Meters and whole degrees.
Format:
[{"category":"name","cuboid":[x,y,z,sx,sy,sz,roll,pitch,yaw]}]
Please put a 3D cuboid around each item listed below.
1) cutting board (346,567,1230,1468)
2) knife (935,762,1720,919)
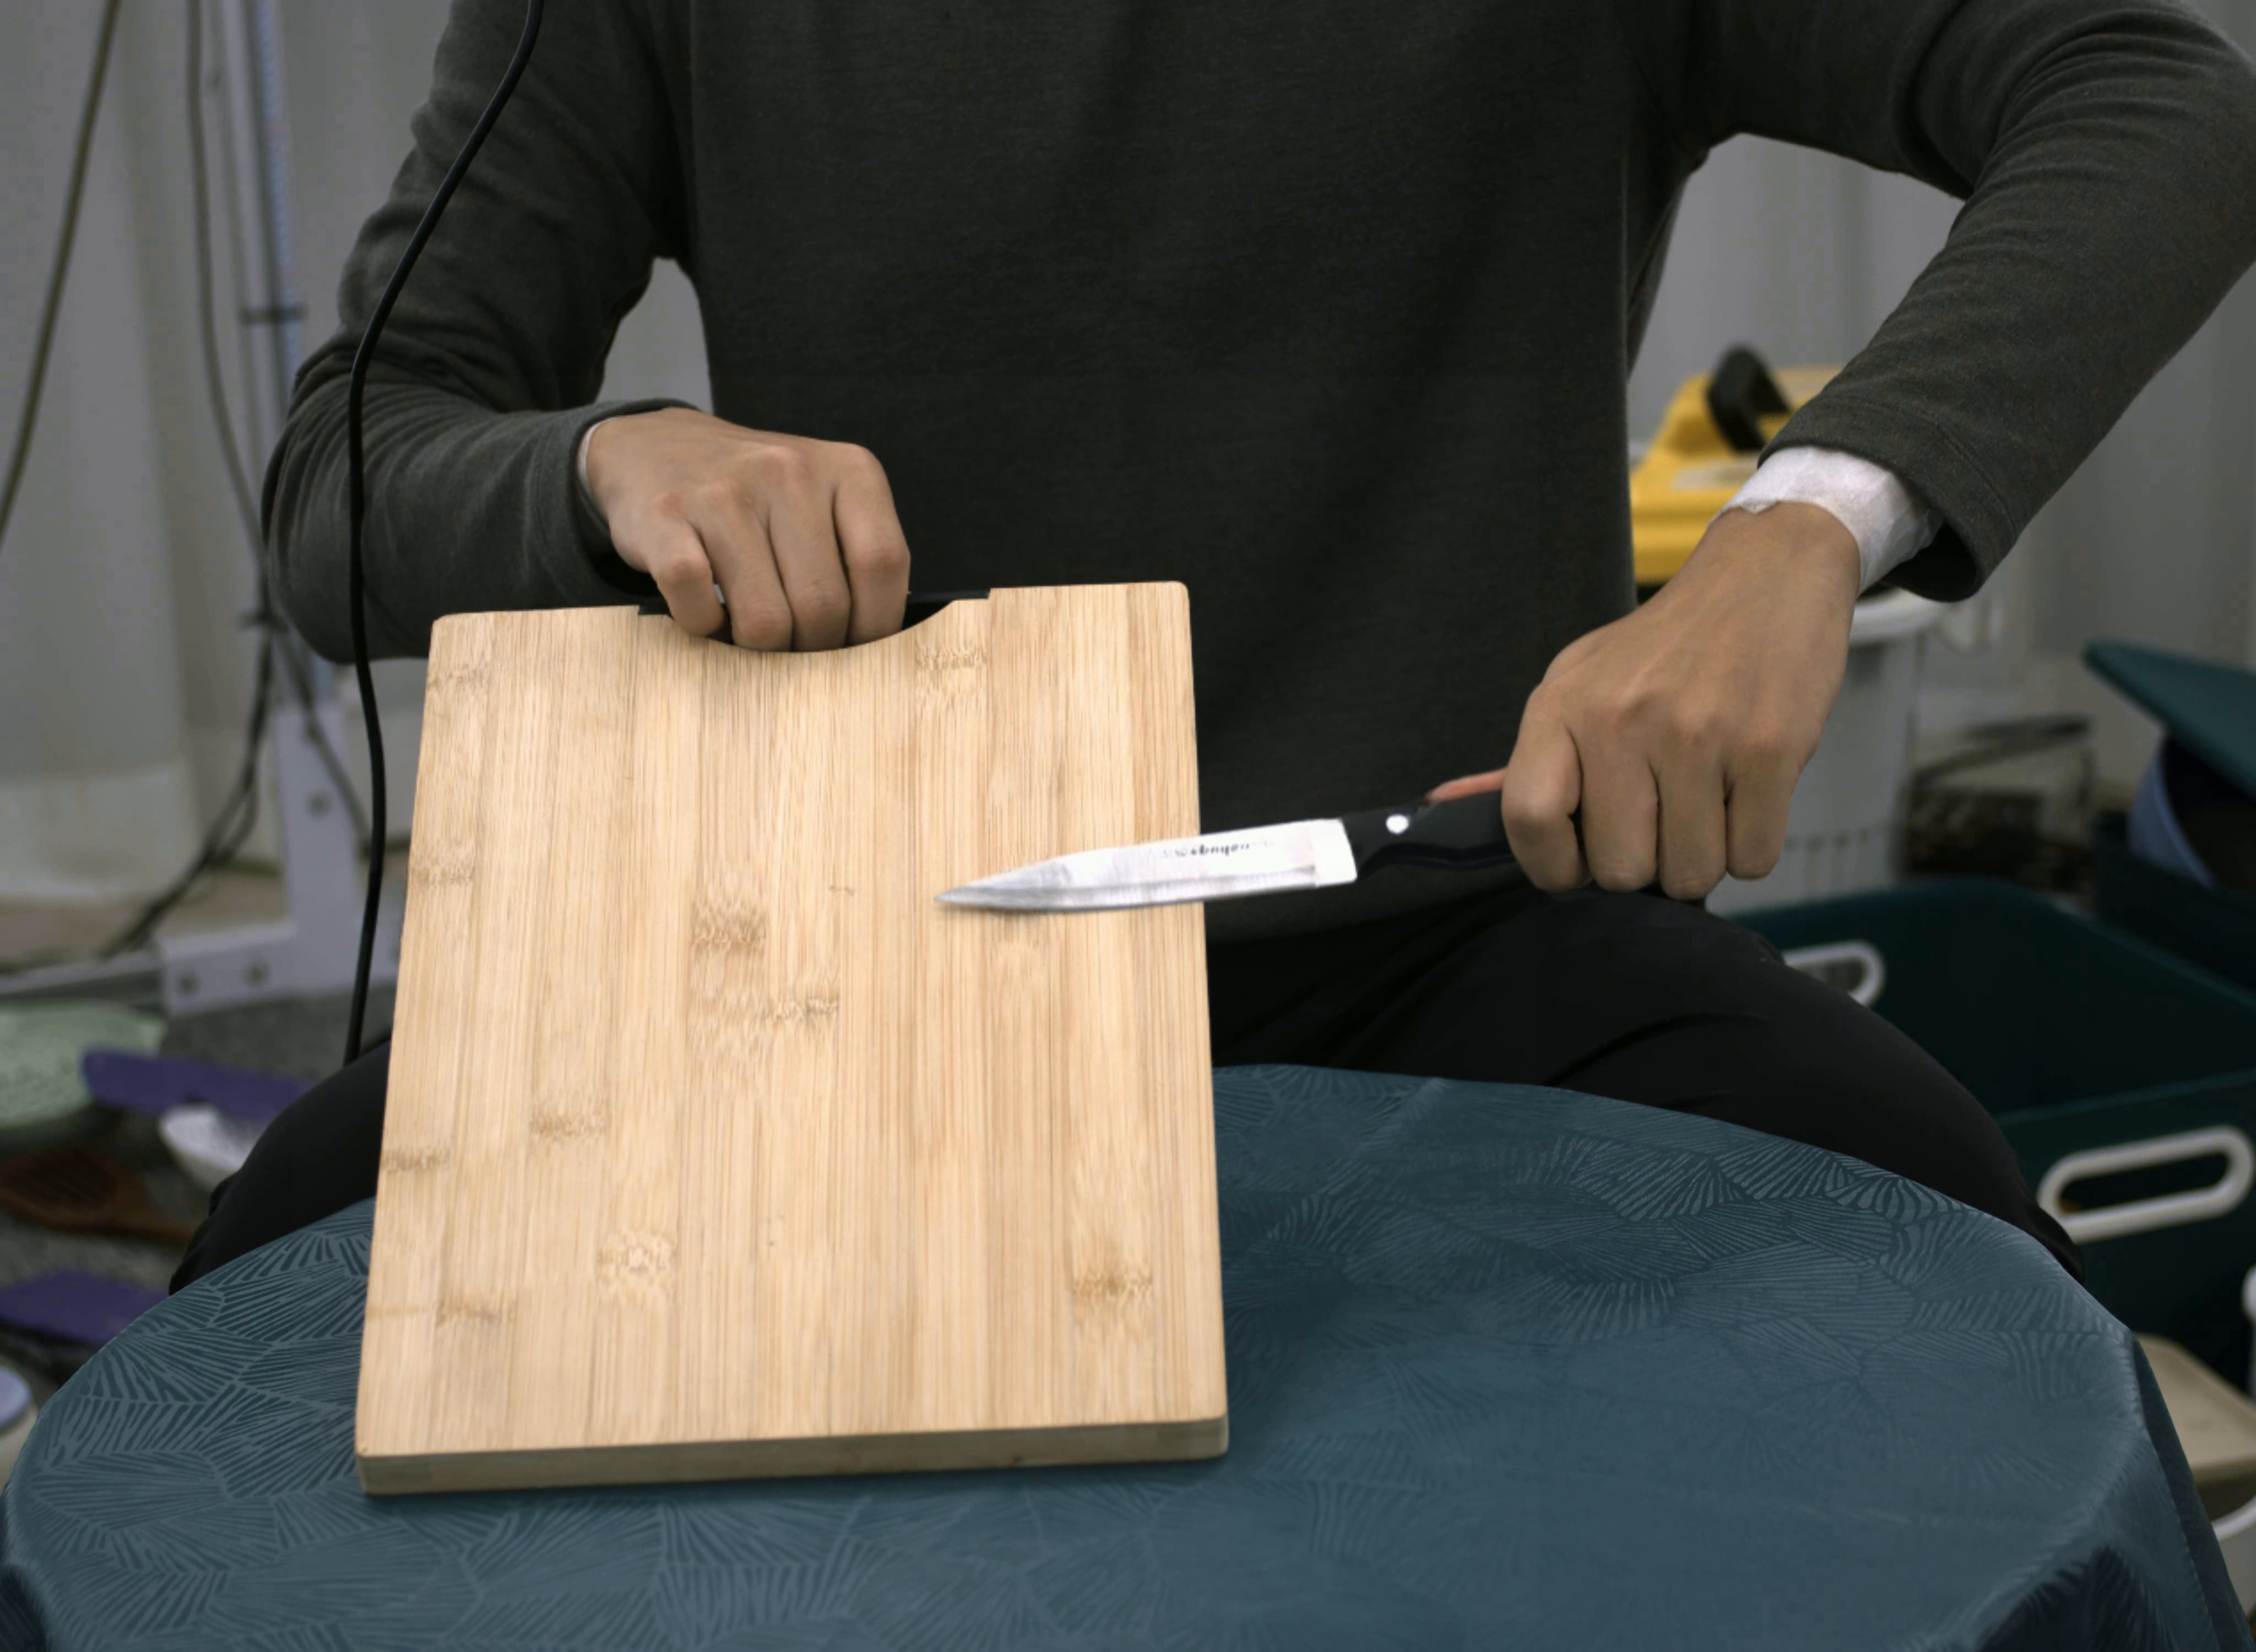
[{"category":"cutting board","cuboid":[-0.095,0.050,1.617,0.250,0.023,0.354,-3,44,0]},{"category":"knife","cuboid":[0.059,0.005,1.635,0.237,0.016,0.025,-8,58,-4]}]
